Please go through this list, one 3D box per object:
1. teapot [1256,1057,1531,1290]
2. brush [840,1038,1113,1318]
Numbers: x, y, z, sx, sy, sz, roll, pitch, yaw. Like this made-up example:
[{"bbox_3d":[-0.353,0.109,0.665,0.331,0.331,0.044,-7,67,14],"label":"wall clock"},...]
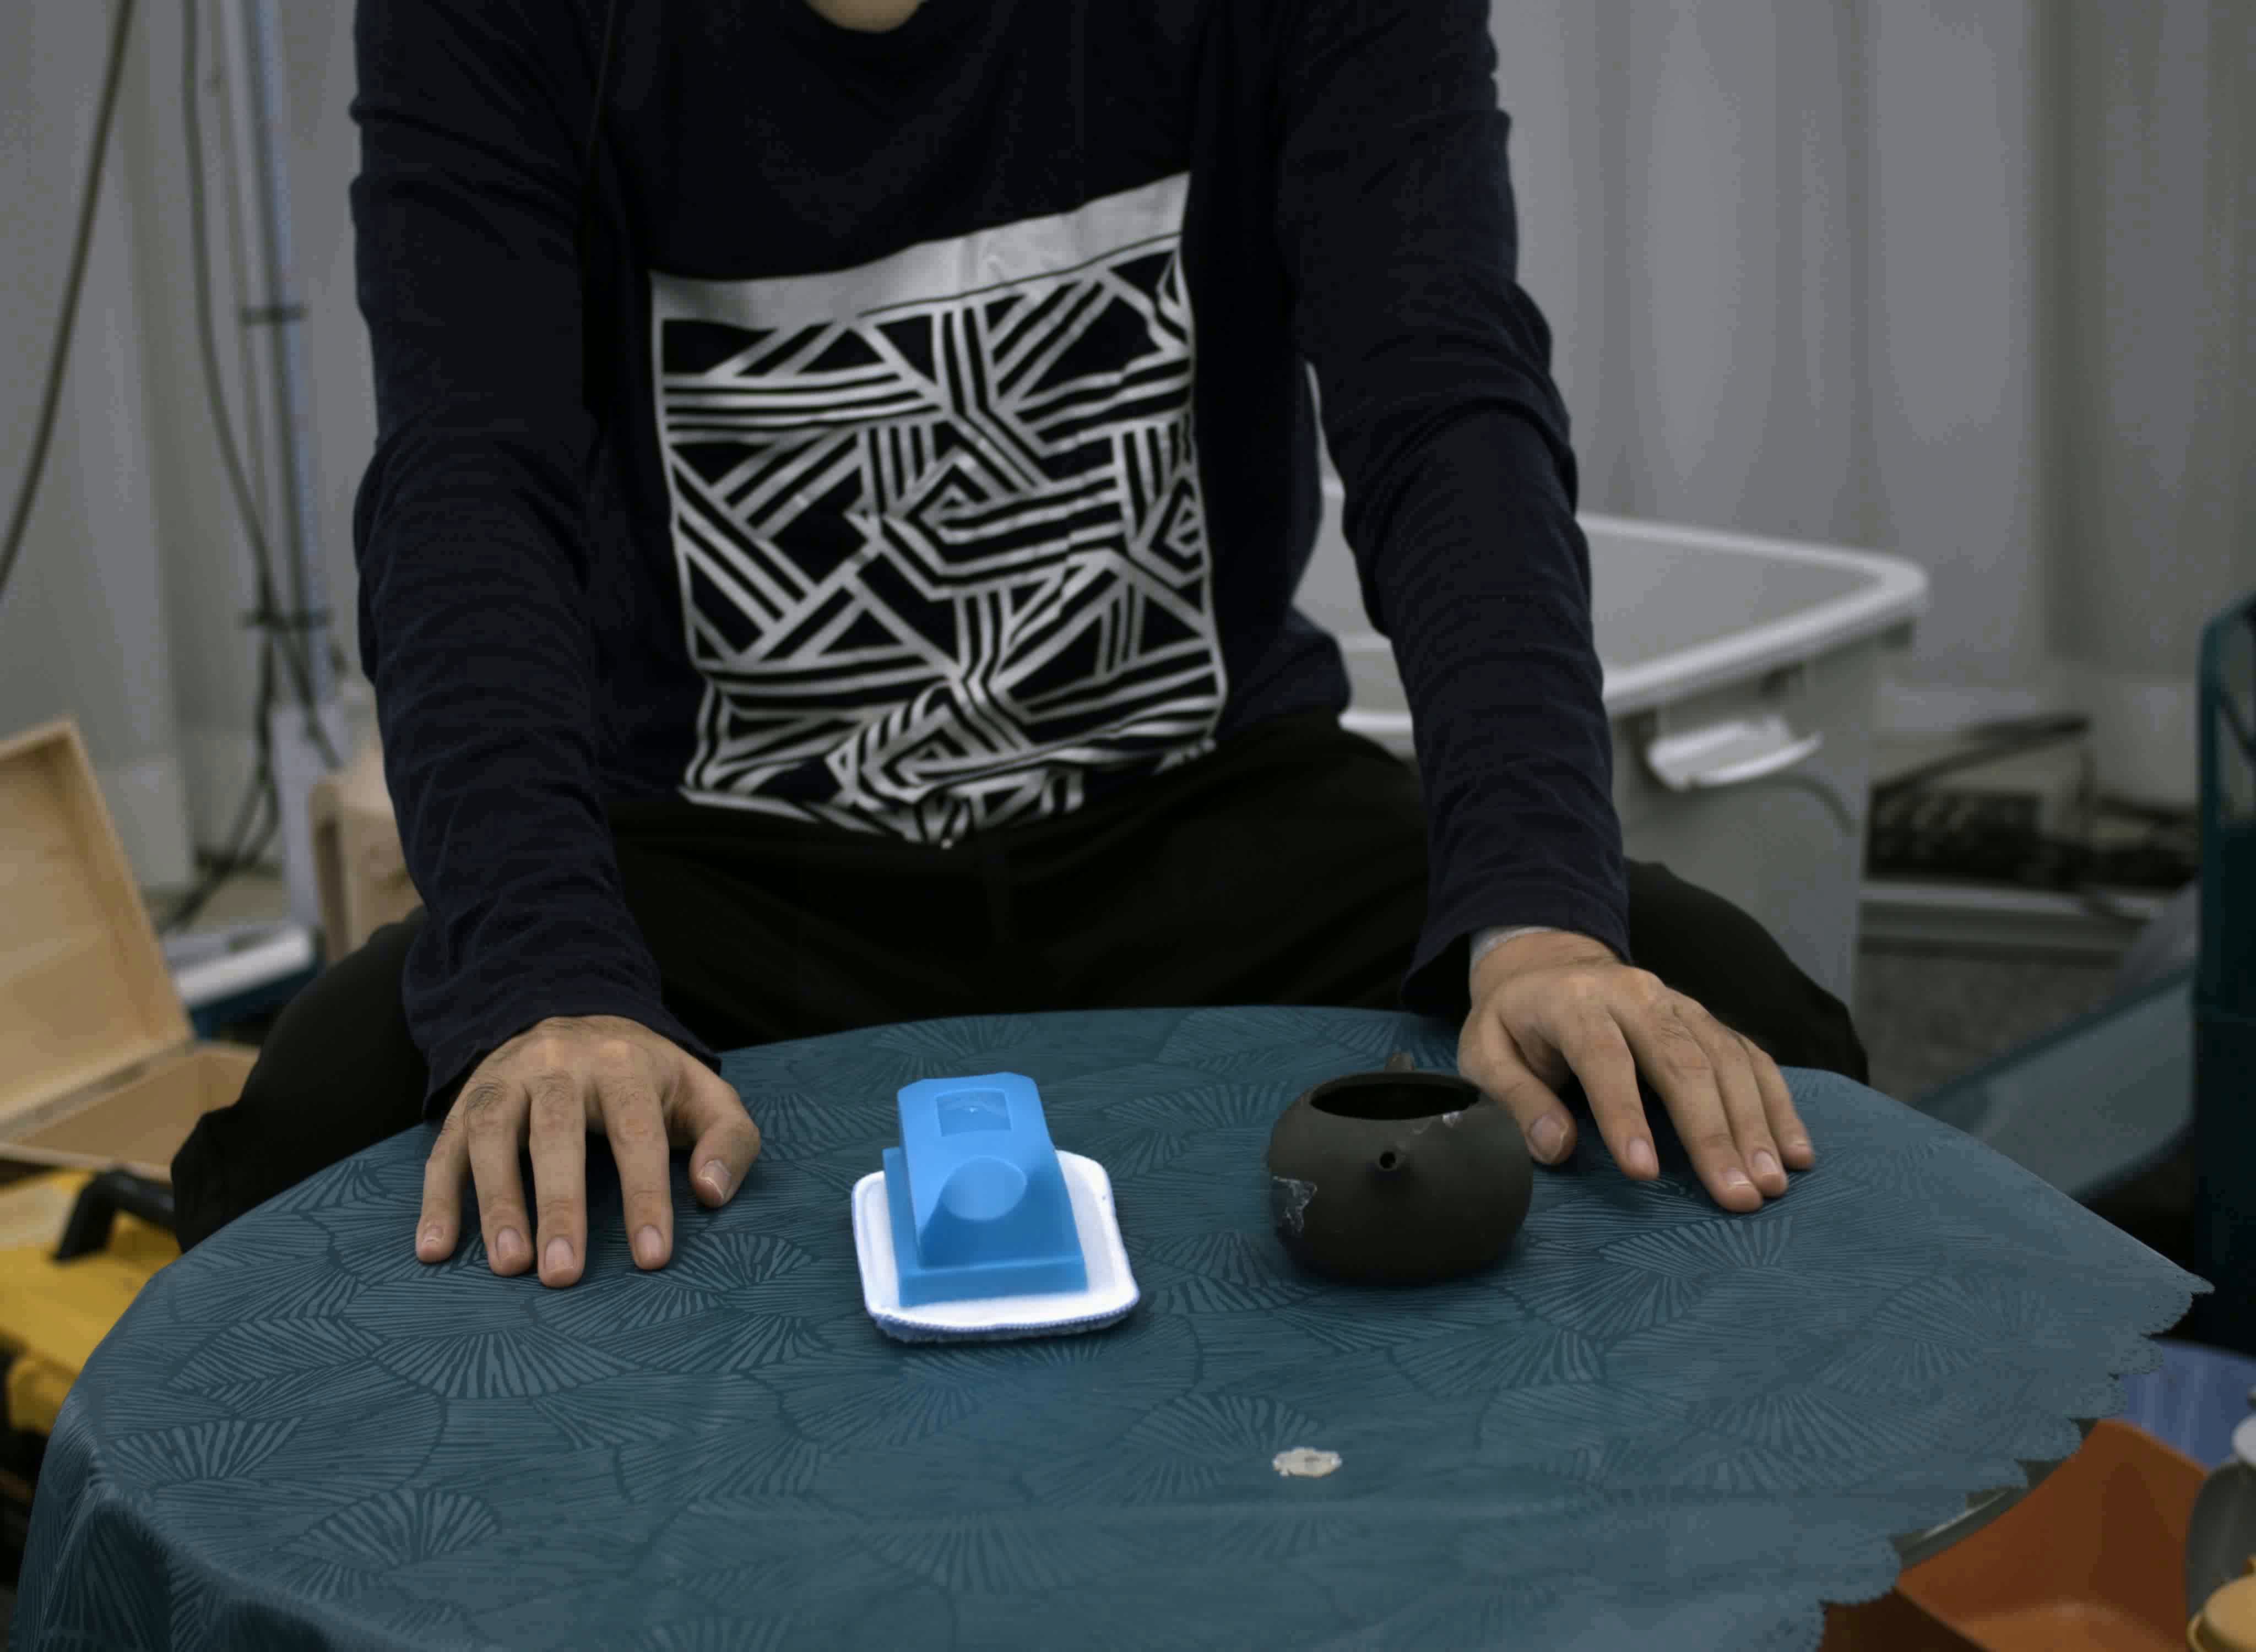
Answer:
[{"bbox_3d":[0.081,0.102,1.651,0.083,0.053,0.115,3,18,8],"label":"teapot"},{"bbox_3d":[-0.045,0.103,1.651,0.083,0.055,0.145,0,17,-3],"label":"brush"}]
